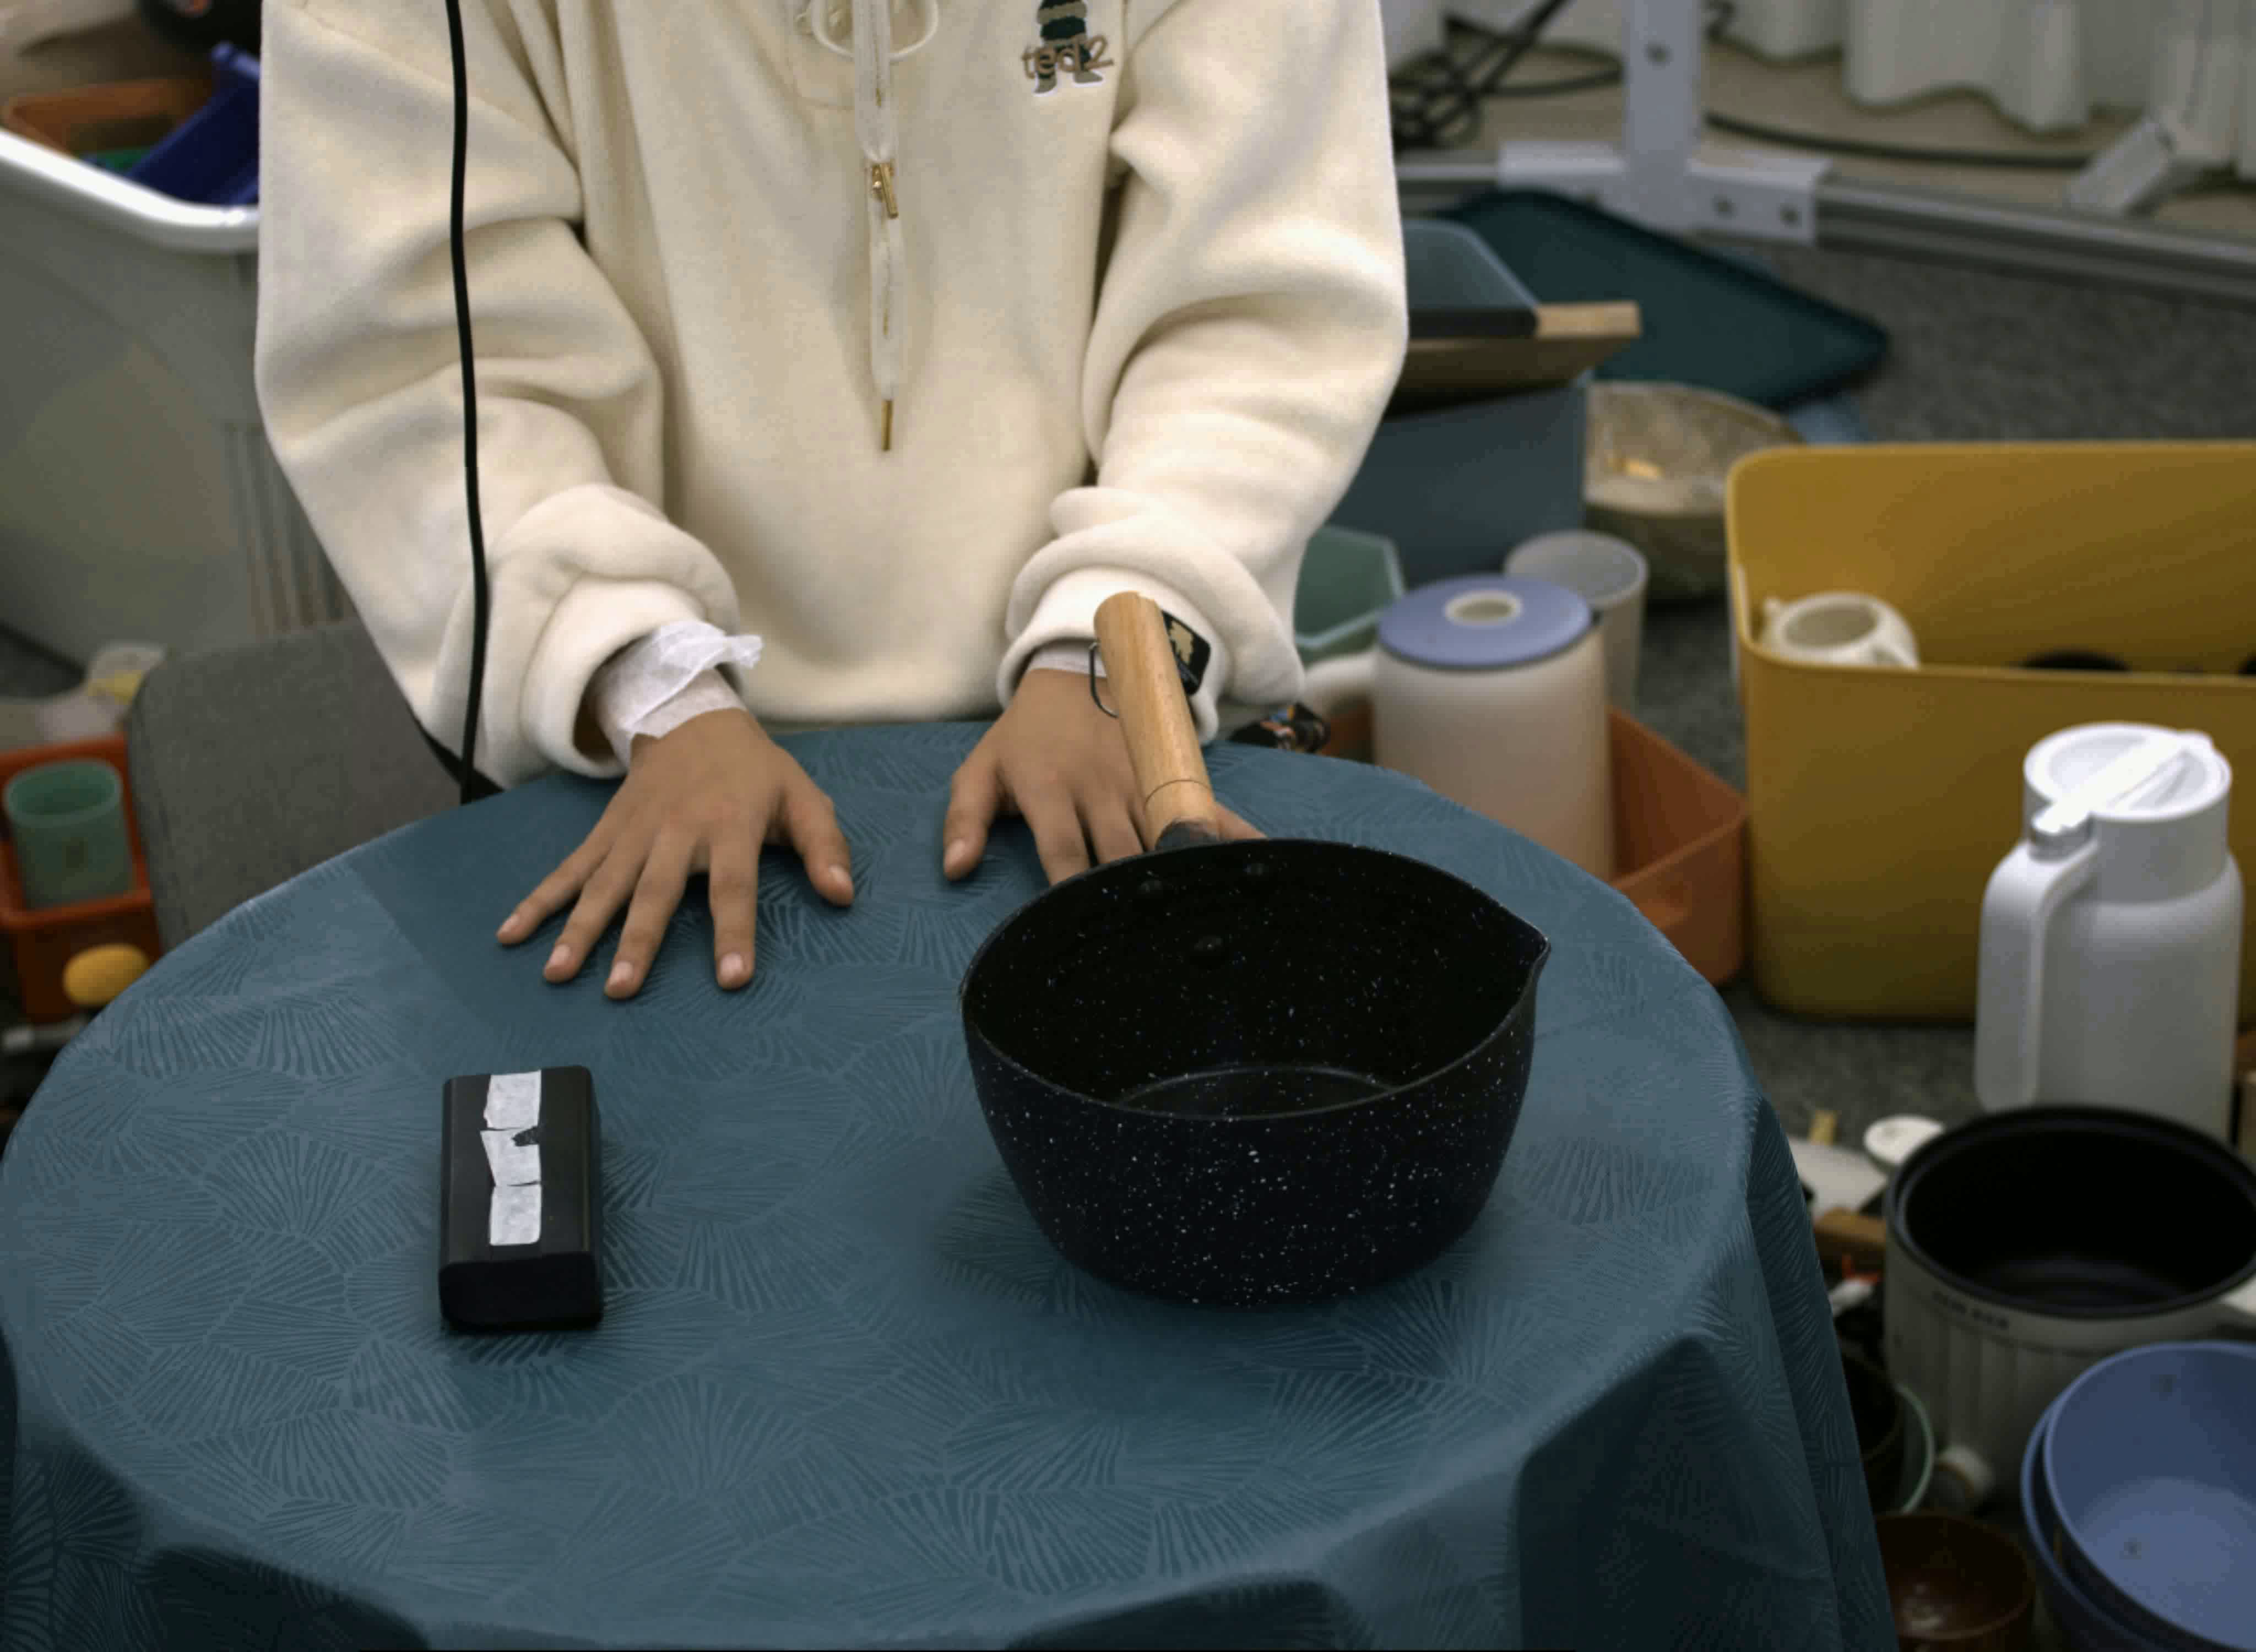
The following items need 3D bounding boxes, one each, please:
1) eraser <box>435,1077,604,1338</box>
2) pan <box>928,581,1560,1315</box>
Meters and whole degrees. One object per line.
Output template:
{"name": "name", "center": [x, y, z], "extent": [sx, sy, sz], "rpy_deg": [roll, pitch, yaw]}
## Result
{"name": "eraser", "center": [-0.198, 0.125, 1.846], "extent": [0.053, 0.030, 0.127], "rpy_deg": [-4, 26, -3]}
{"name": "pan", "center": [0.027, 0.038, 1.904], "extent": [0.207, 0.107, 0.347], "rpy_deg": [-8, 29, -7]}
